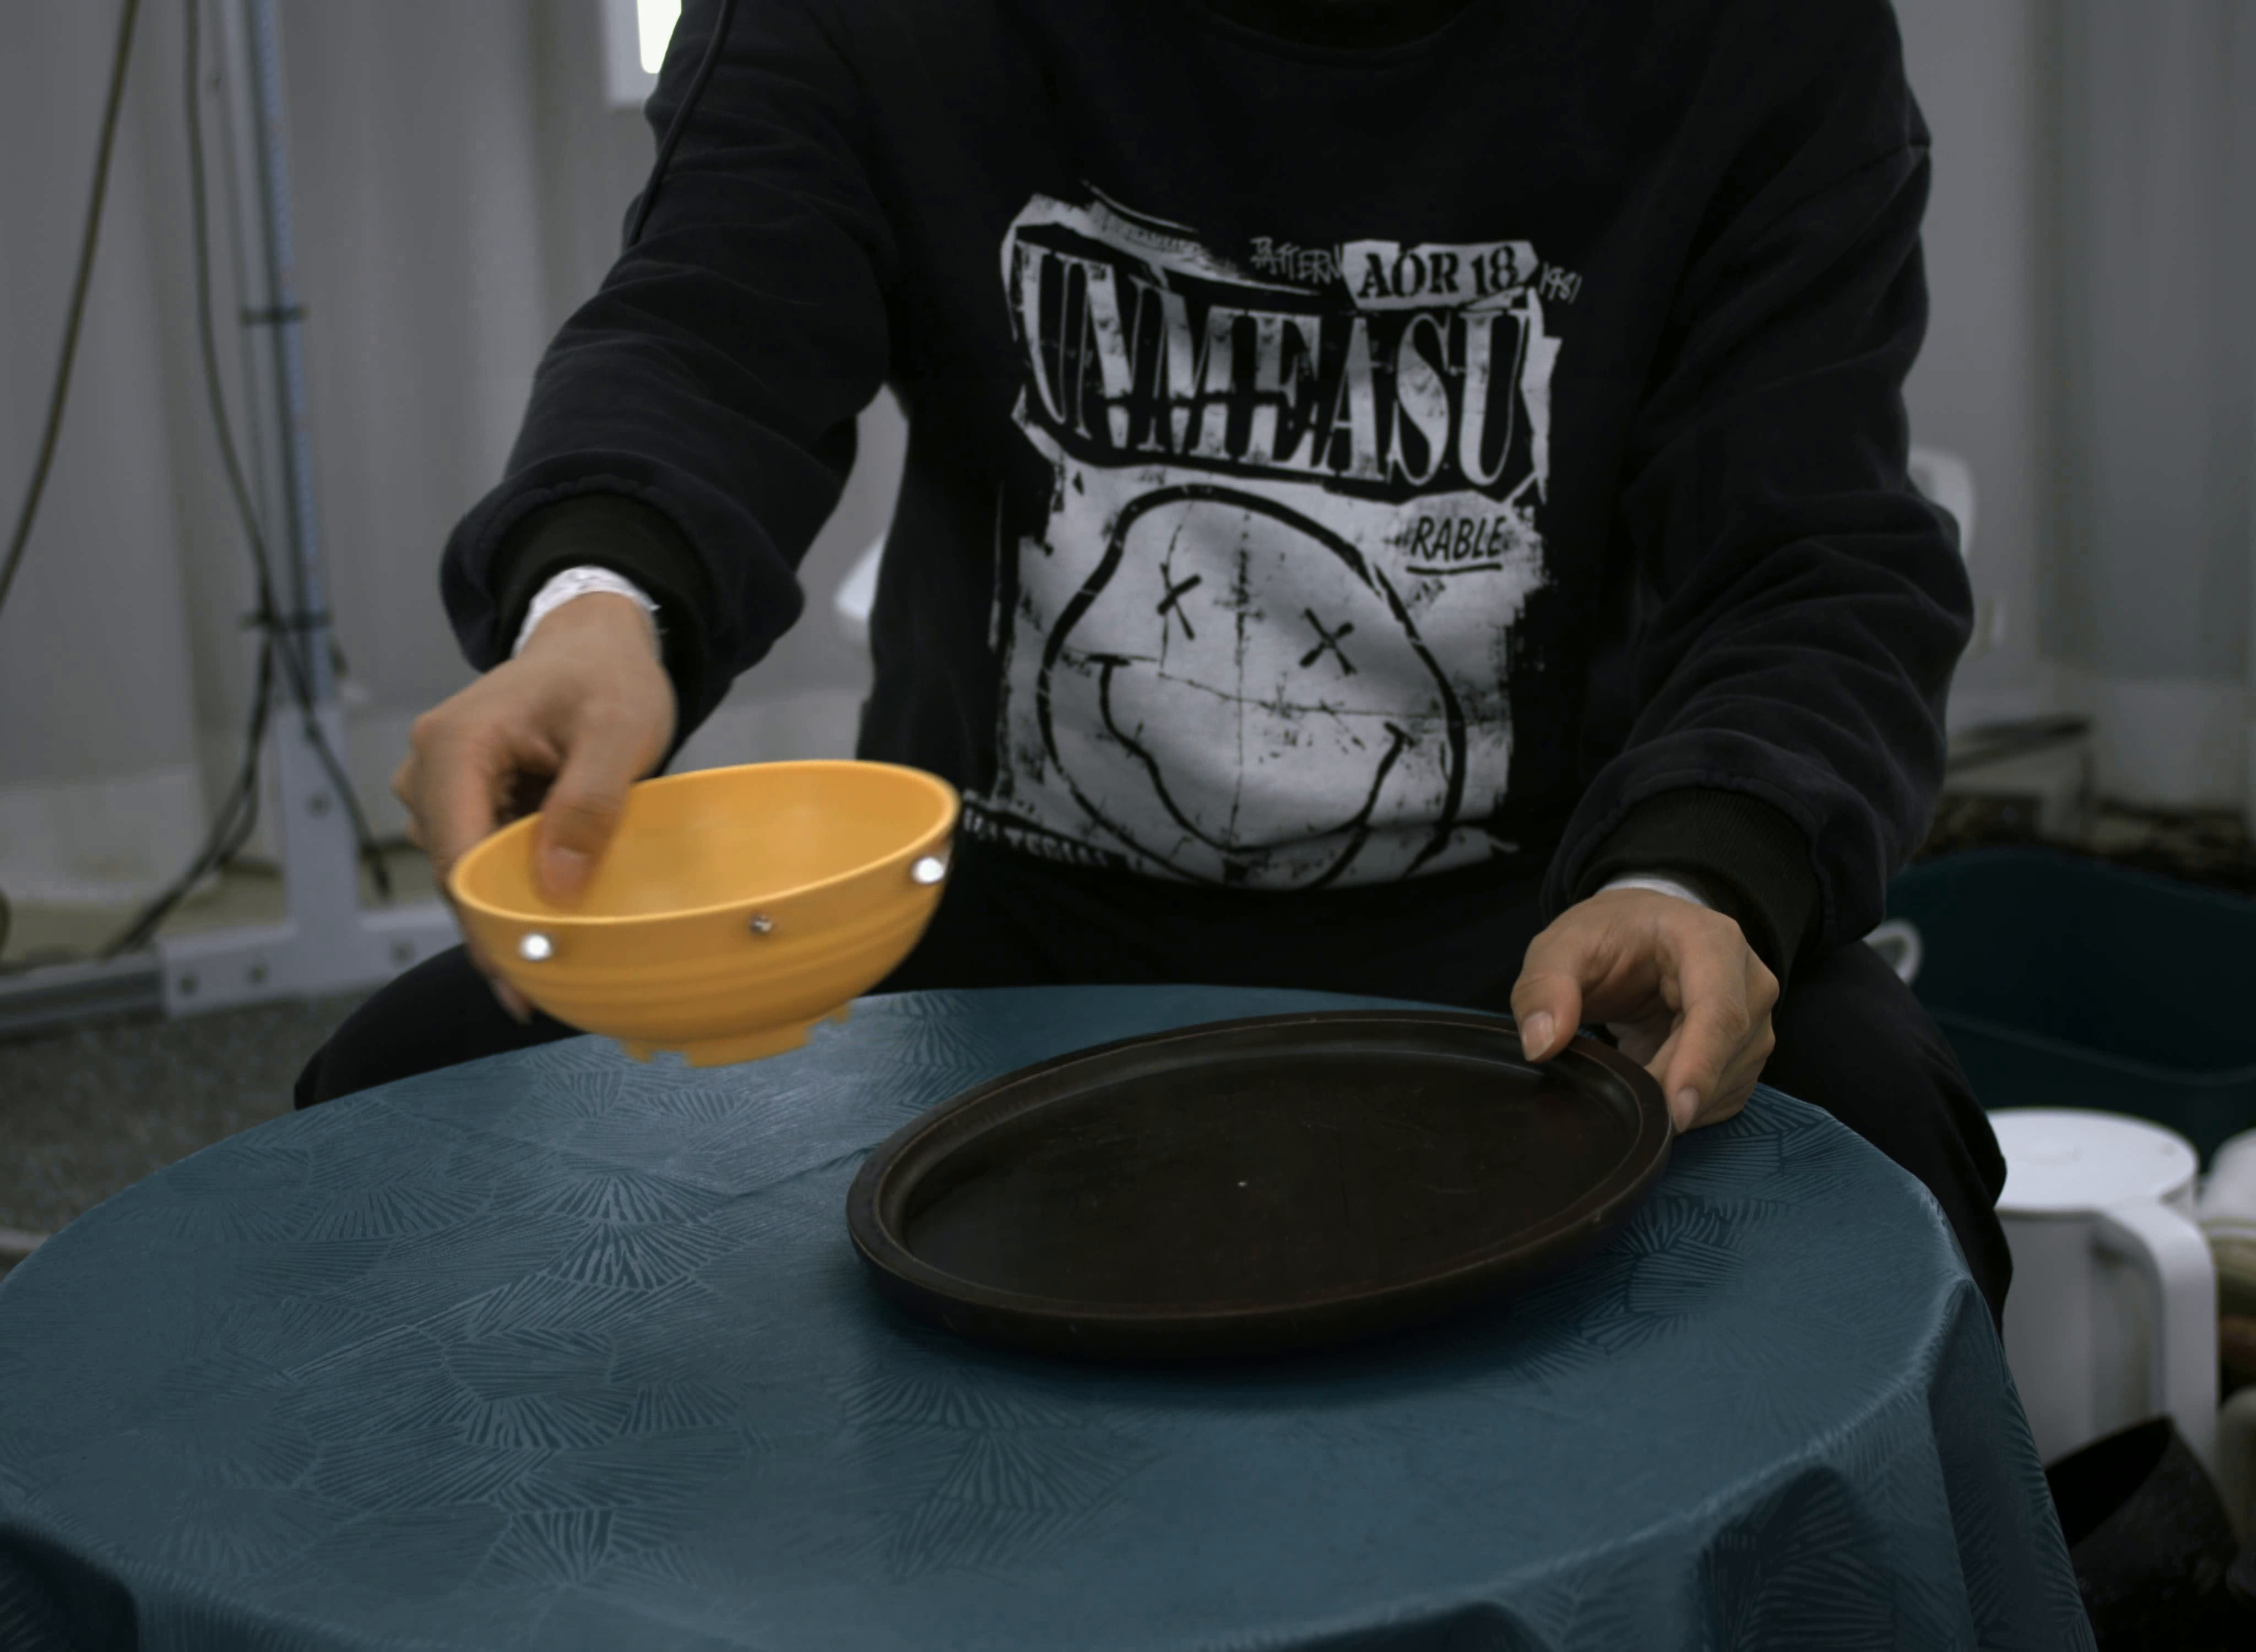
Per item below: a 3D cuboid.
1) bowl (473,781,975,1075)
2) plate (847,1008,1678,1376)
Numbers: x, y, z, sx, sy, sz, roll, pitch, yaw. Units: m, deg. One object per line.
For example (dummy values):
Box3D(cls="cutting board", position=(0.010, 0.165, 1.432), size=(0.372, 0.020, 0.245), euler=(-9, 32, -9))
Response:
Box3D(cls="bowl", position=(-0.111, 0.033, 1.559), size=(0.145, 0.060, 0.146), euler=(-7, 14, 1))
Box3D(cls="plate", position=(0.041, 0.108, 1.653), size=(0.254, 0.029, 0.256), euler=(-8, 16, 2))
